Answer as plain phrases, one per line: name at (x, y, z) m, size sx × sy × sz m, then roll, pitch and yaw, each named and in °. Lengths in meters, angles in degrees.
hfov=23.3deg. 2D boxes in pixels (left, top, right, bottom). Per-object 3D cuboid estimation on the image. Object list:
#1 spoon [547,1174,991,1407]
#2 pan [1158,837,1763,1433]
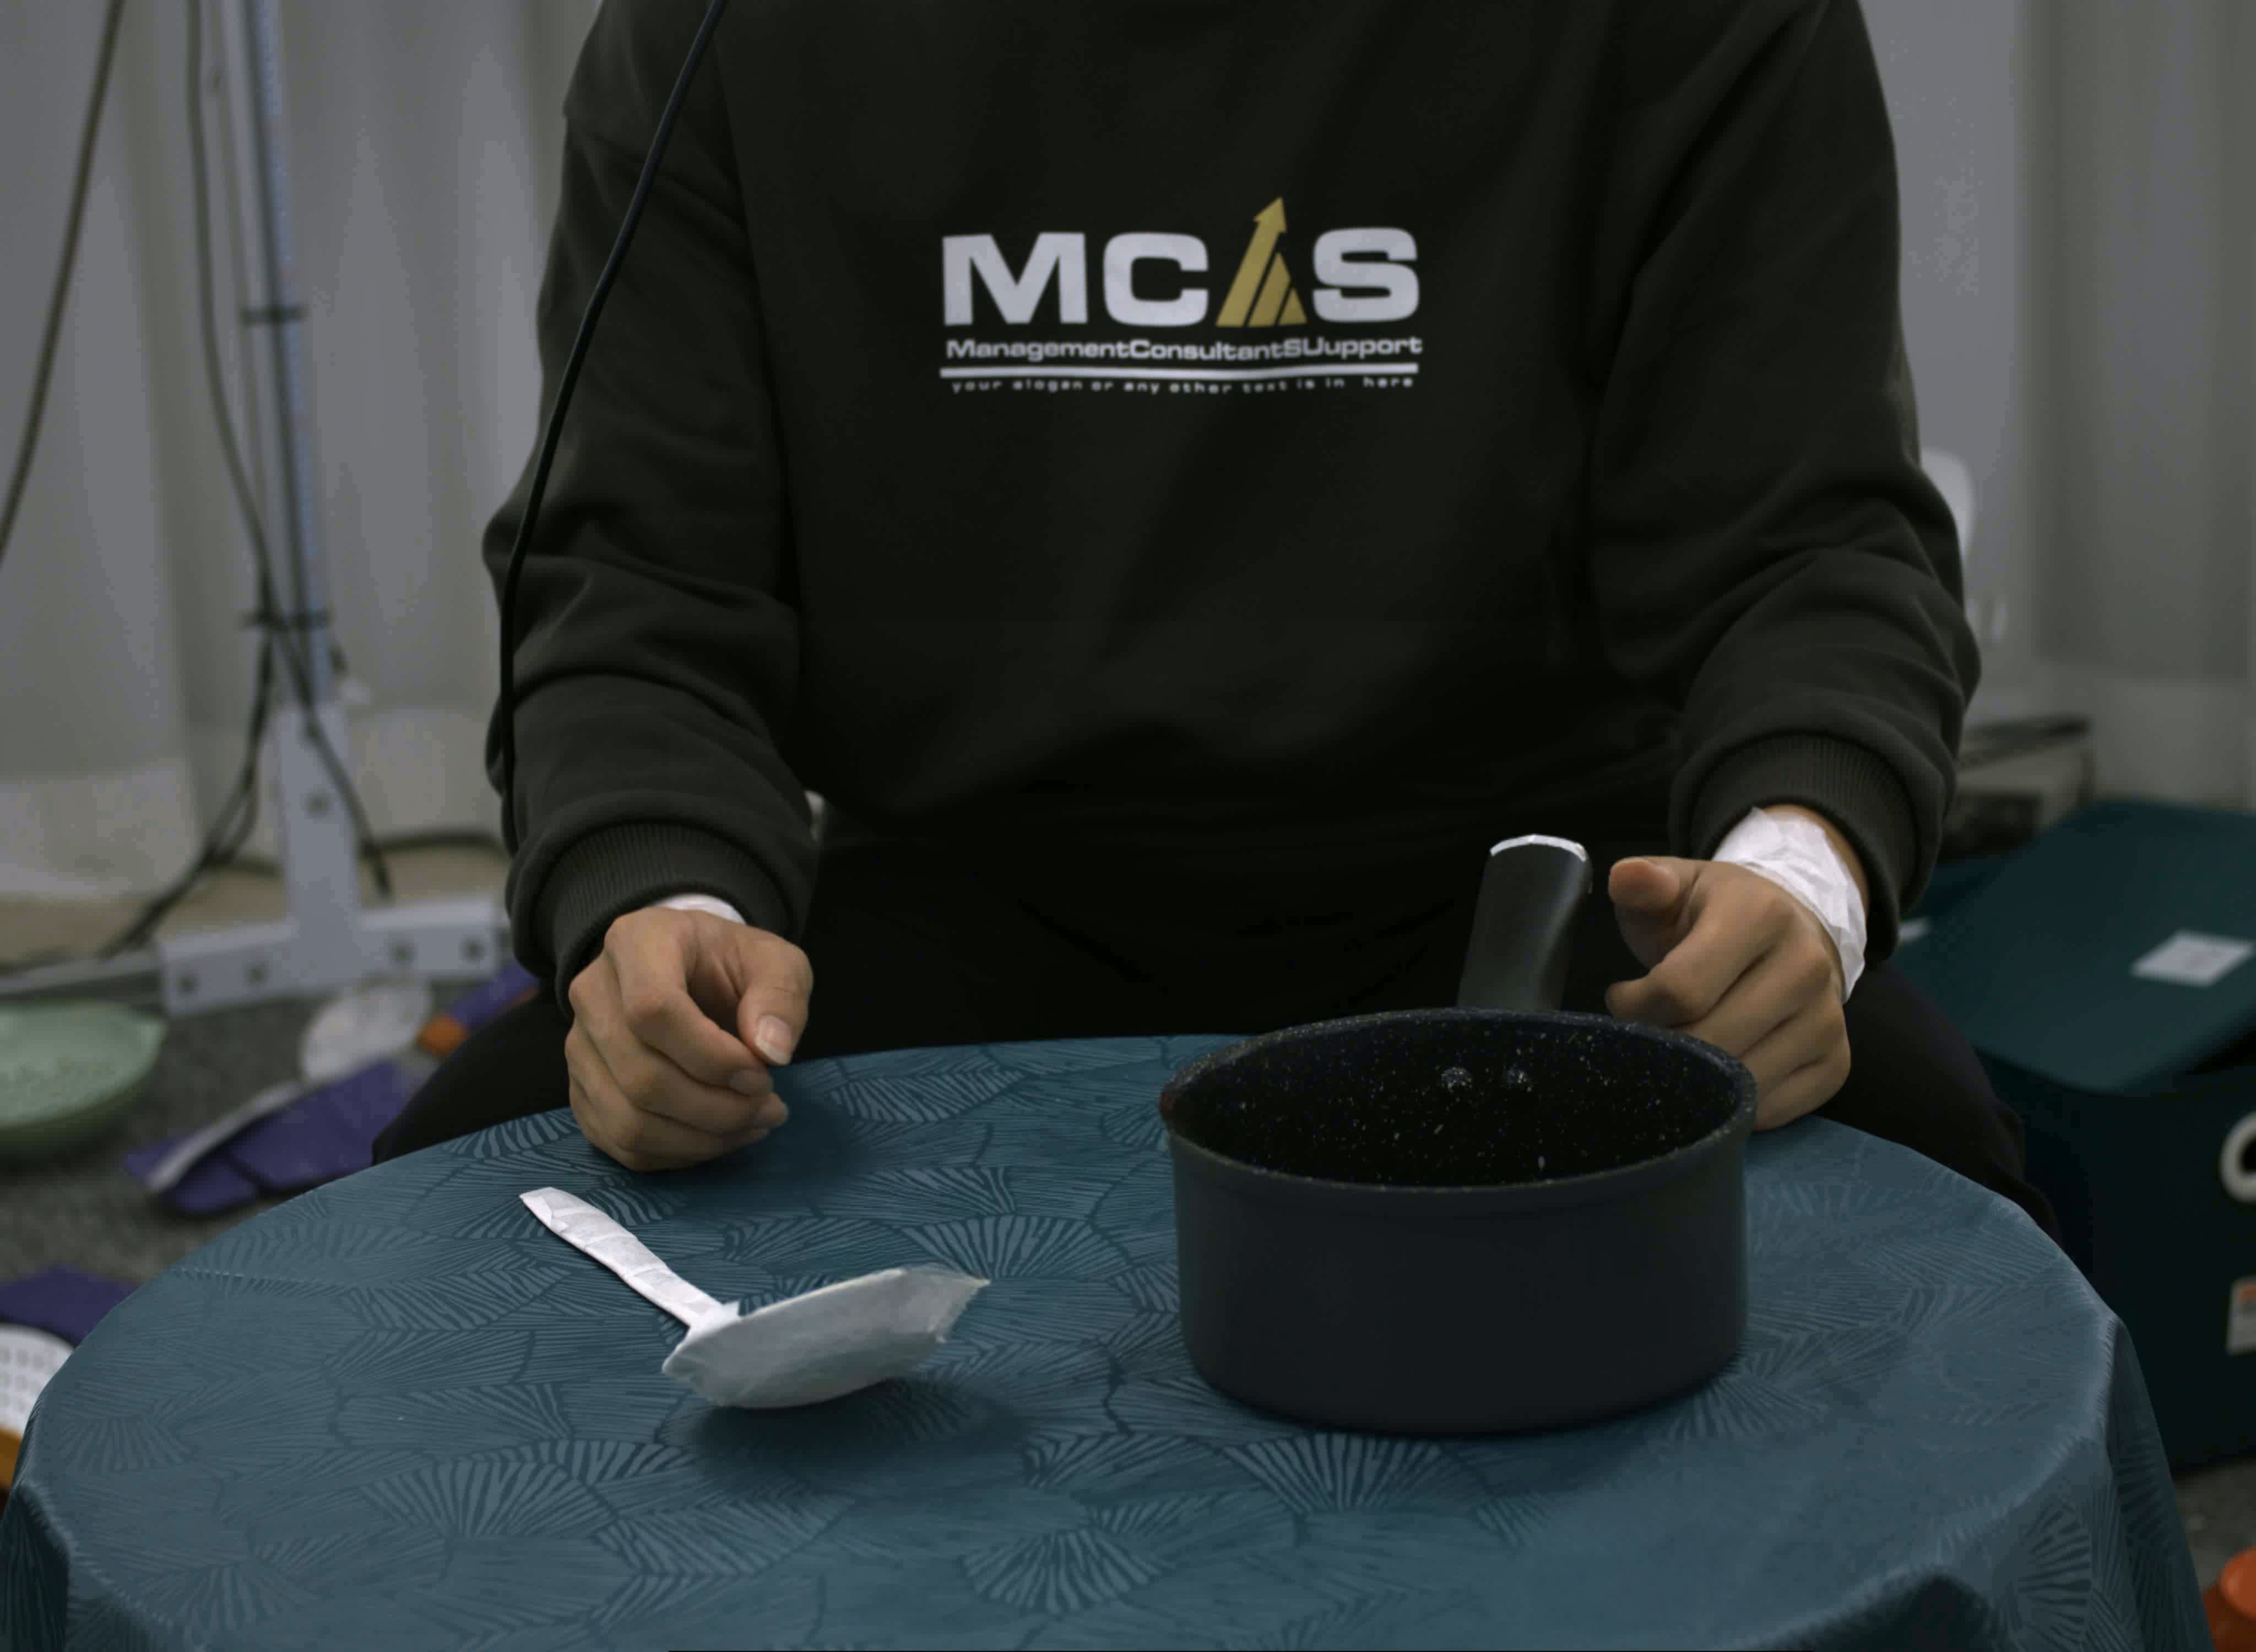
spoon at (-0.121, 0.118, 1.616) m, size 0.100 × 0.059 × 0.279 m, roll -6°, pitch 15°, yaw -22°
pan at (0.112, 0.088, 1.635) m, size 0.172 × 0.086 × 0.330 m, roll 2°, pitch 16°, yaw 13°
